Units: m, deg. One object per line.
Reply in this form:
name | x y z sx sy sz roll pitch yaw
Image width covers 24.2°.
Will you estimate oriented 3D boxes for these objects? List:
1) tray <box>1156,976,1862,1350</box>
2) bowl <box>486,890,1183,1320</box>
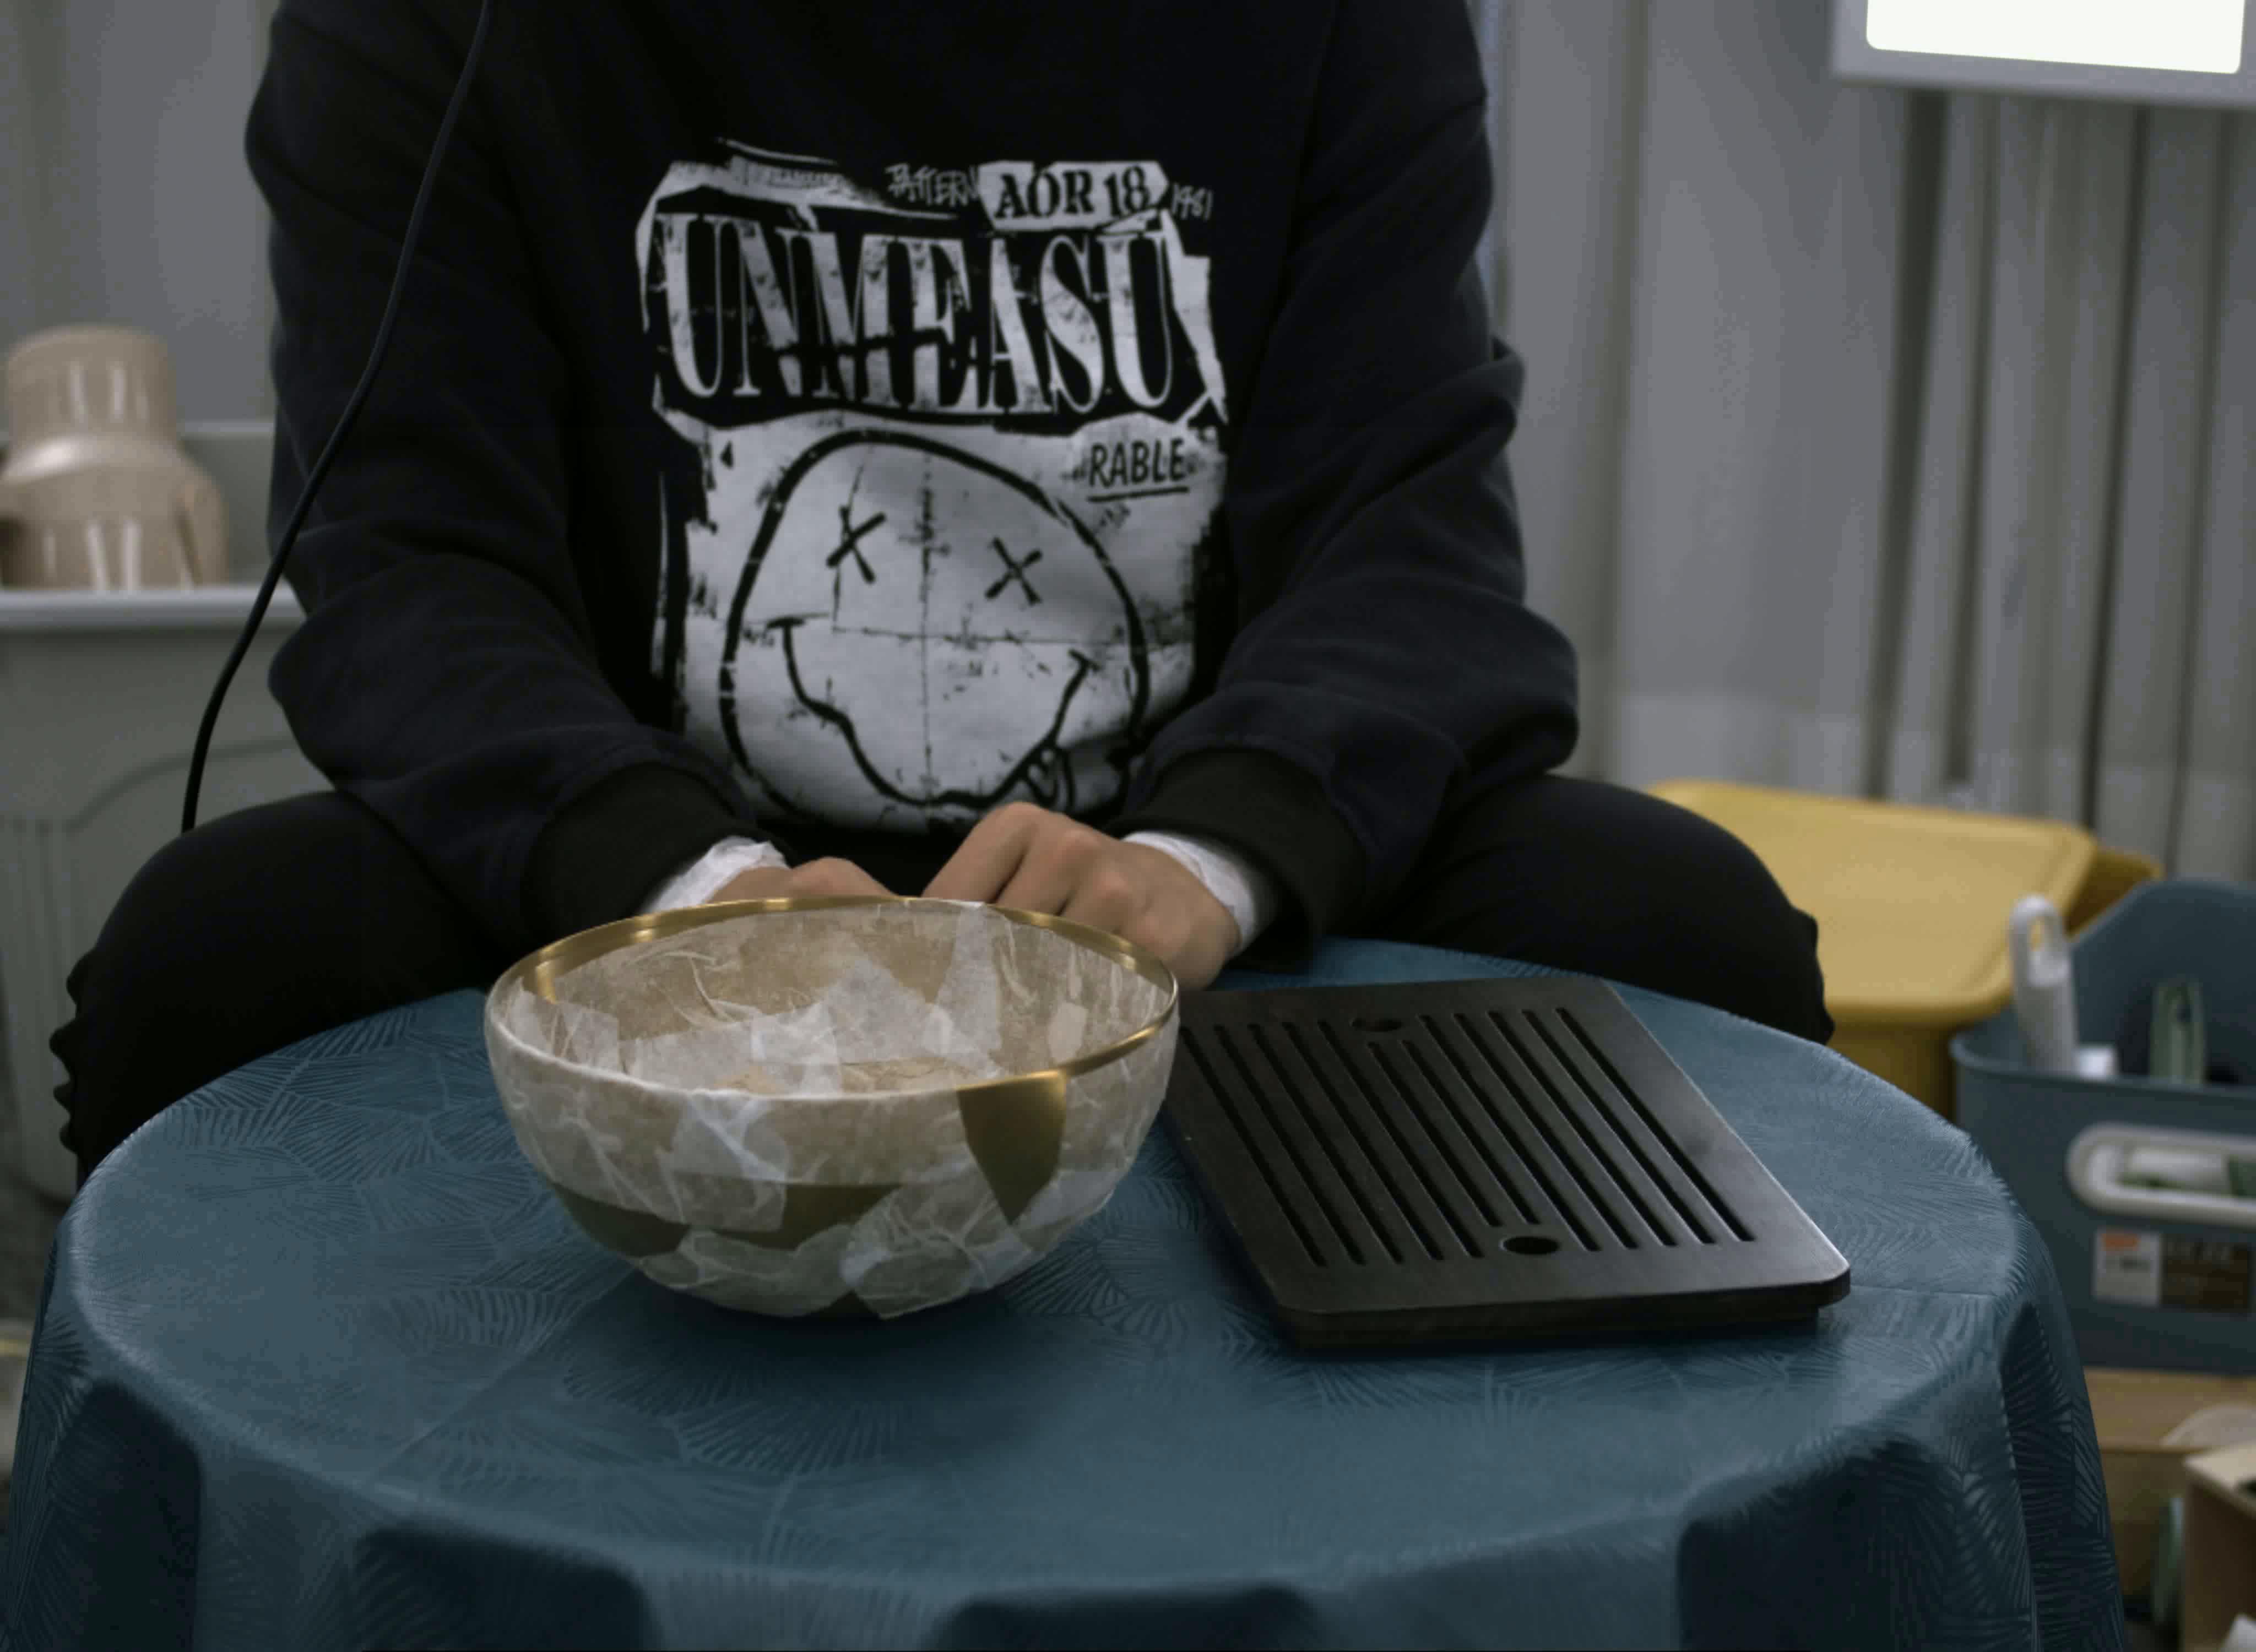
tray | 0.104 0.102 1.637 0.170 0.019 0.303 -2 16 -10
bowl | -0.081 0.088 1.536 0.214 0.095 0.213 -1 16 1
